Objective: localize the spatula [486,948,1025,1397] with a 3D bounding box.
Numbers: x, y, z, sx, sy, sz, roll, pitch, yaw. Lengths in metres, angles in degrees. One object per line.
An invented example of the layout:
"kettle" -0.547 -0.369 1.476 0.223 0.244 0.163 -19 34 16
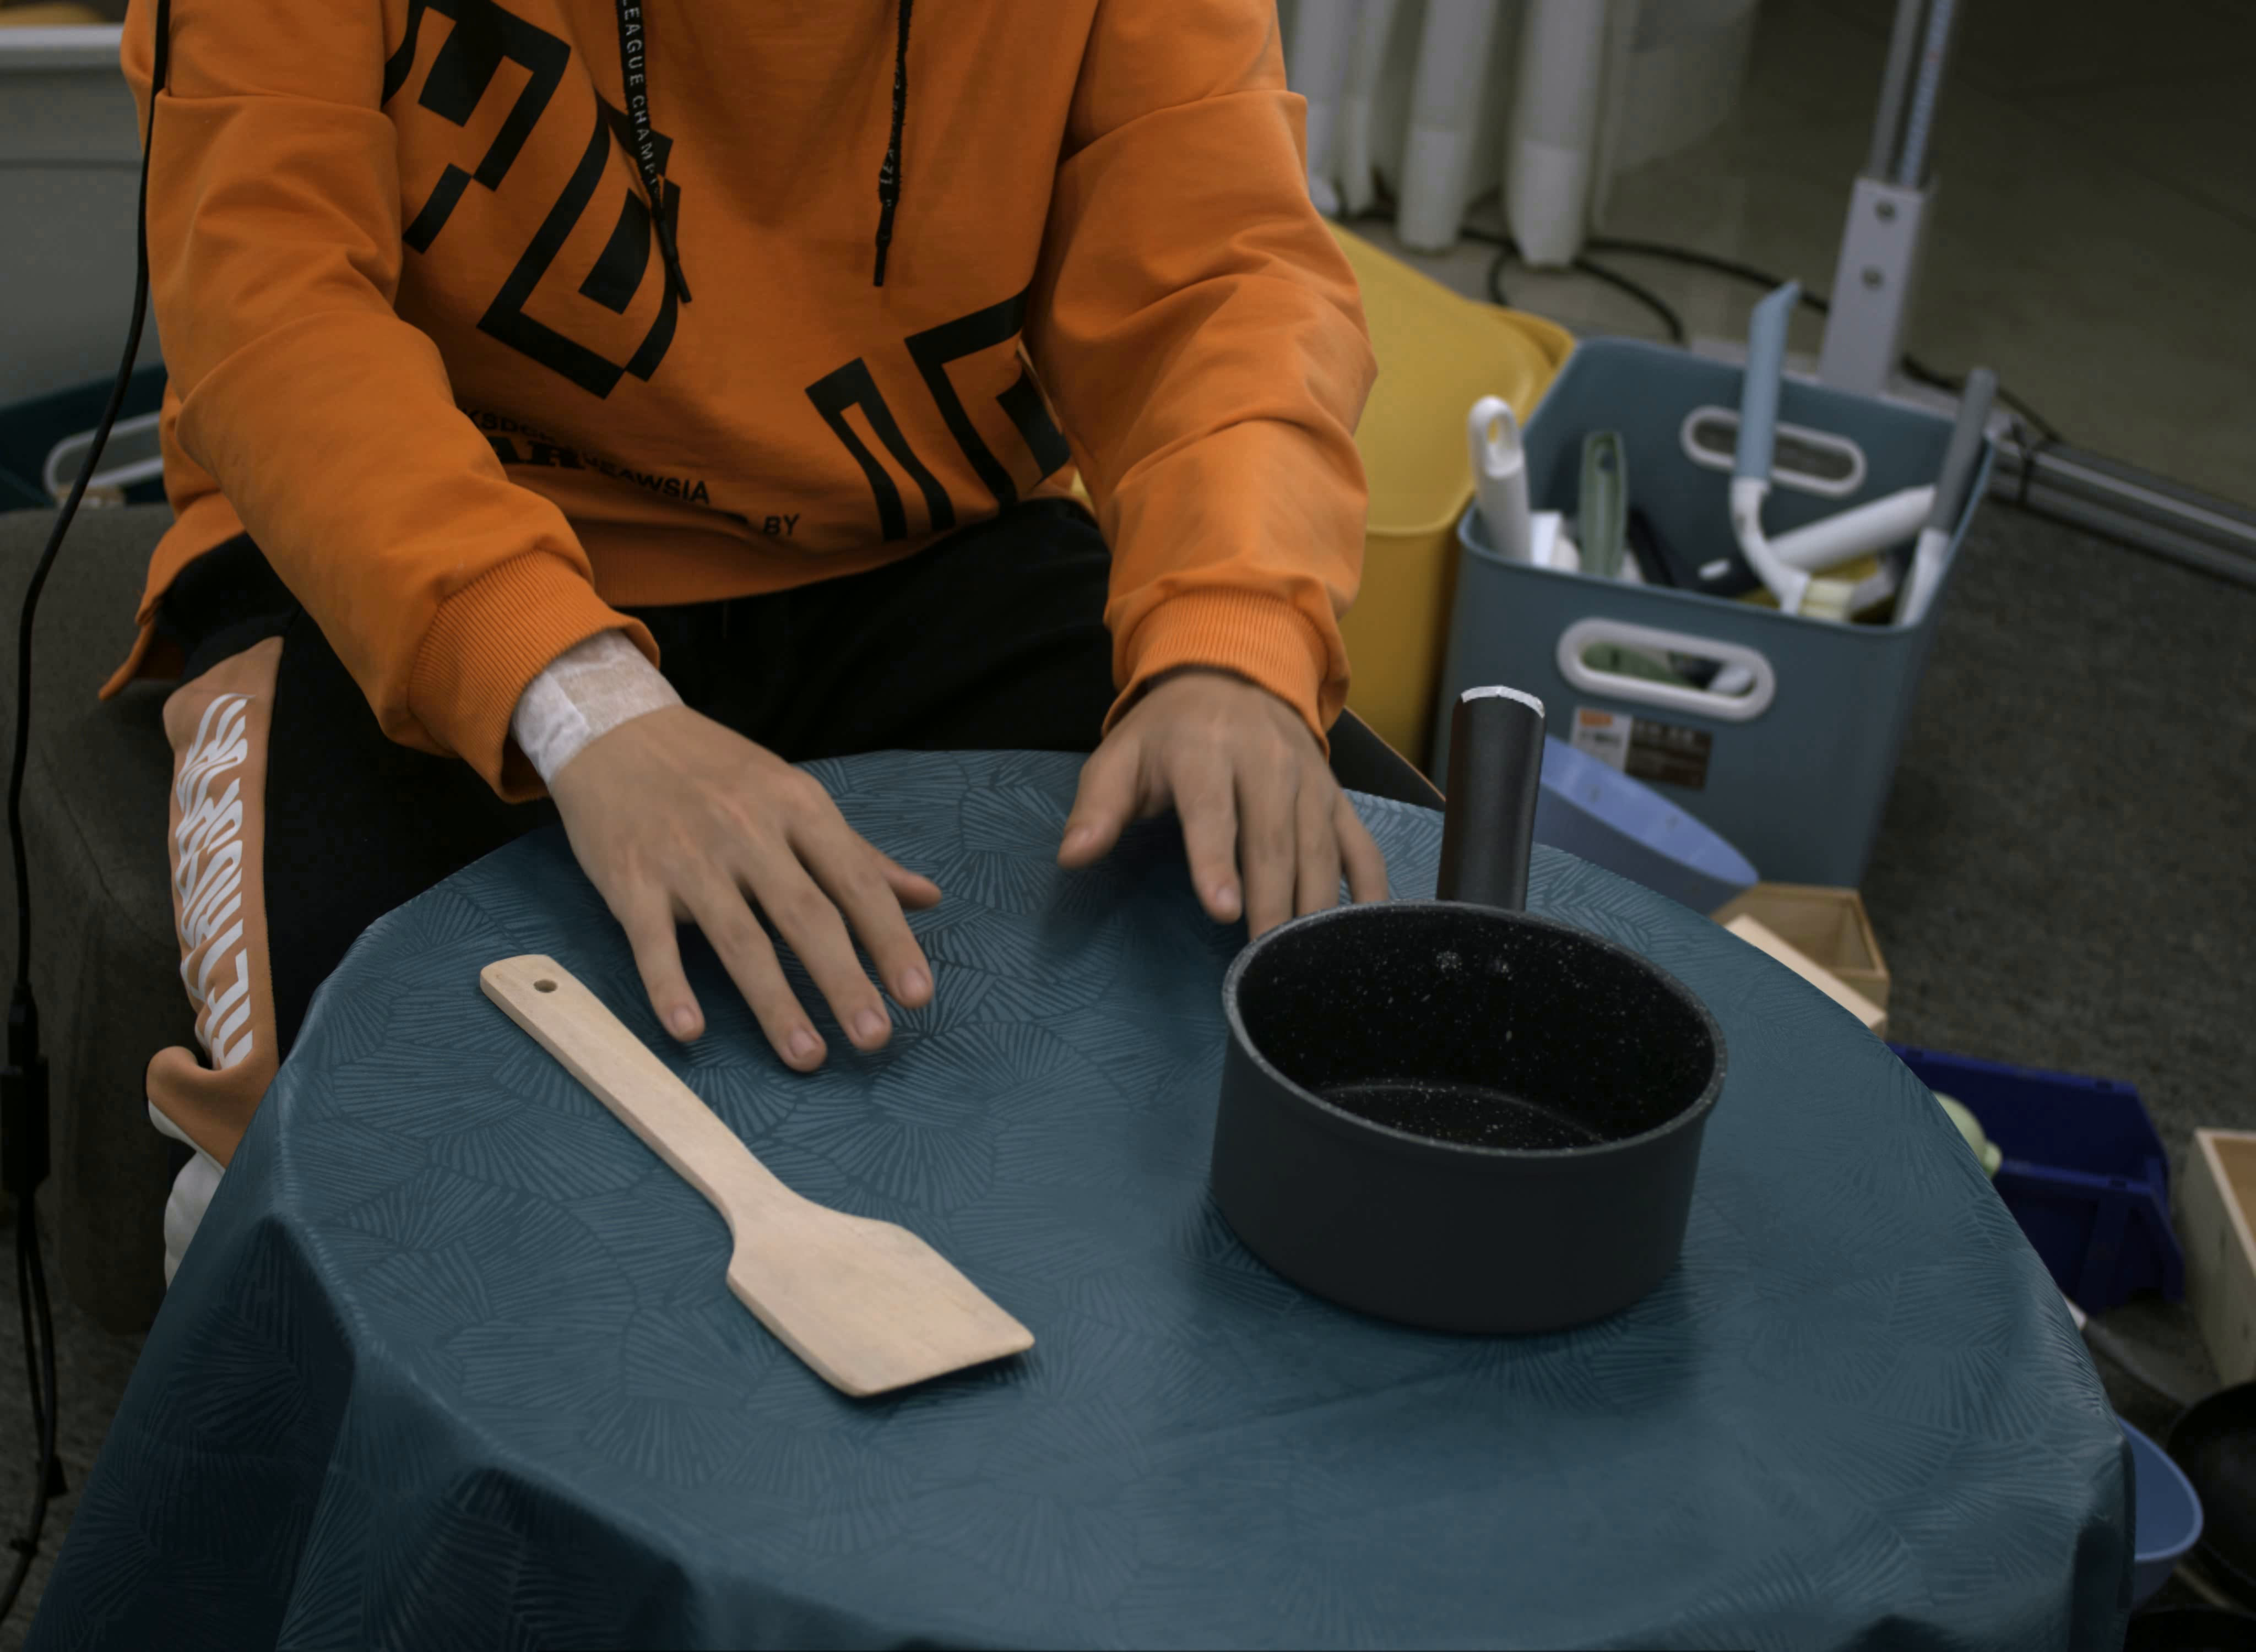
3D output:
"spatula" -0.140 0.111 1.786 0.072 0.010 0.295 -15 34 -30

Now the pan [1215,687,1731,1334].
"pan" 0.124 0.060 1.863 0.172 0.086 0.330 10 29 5
